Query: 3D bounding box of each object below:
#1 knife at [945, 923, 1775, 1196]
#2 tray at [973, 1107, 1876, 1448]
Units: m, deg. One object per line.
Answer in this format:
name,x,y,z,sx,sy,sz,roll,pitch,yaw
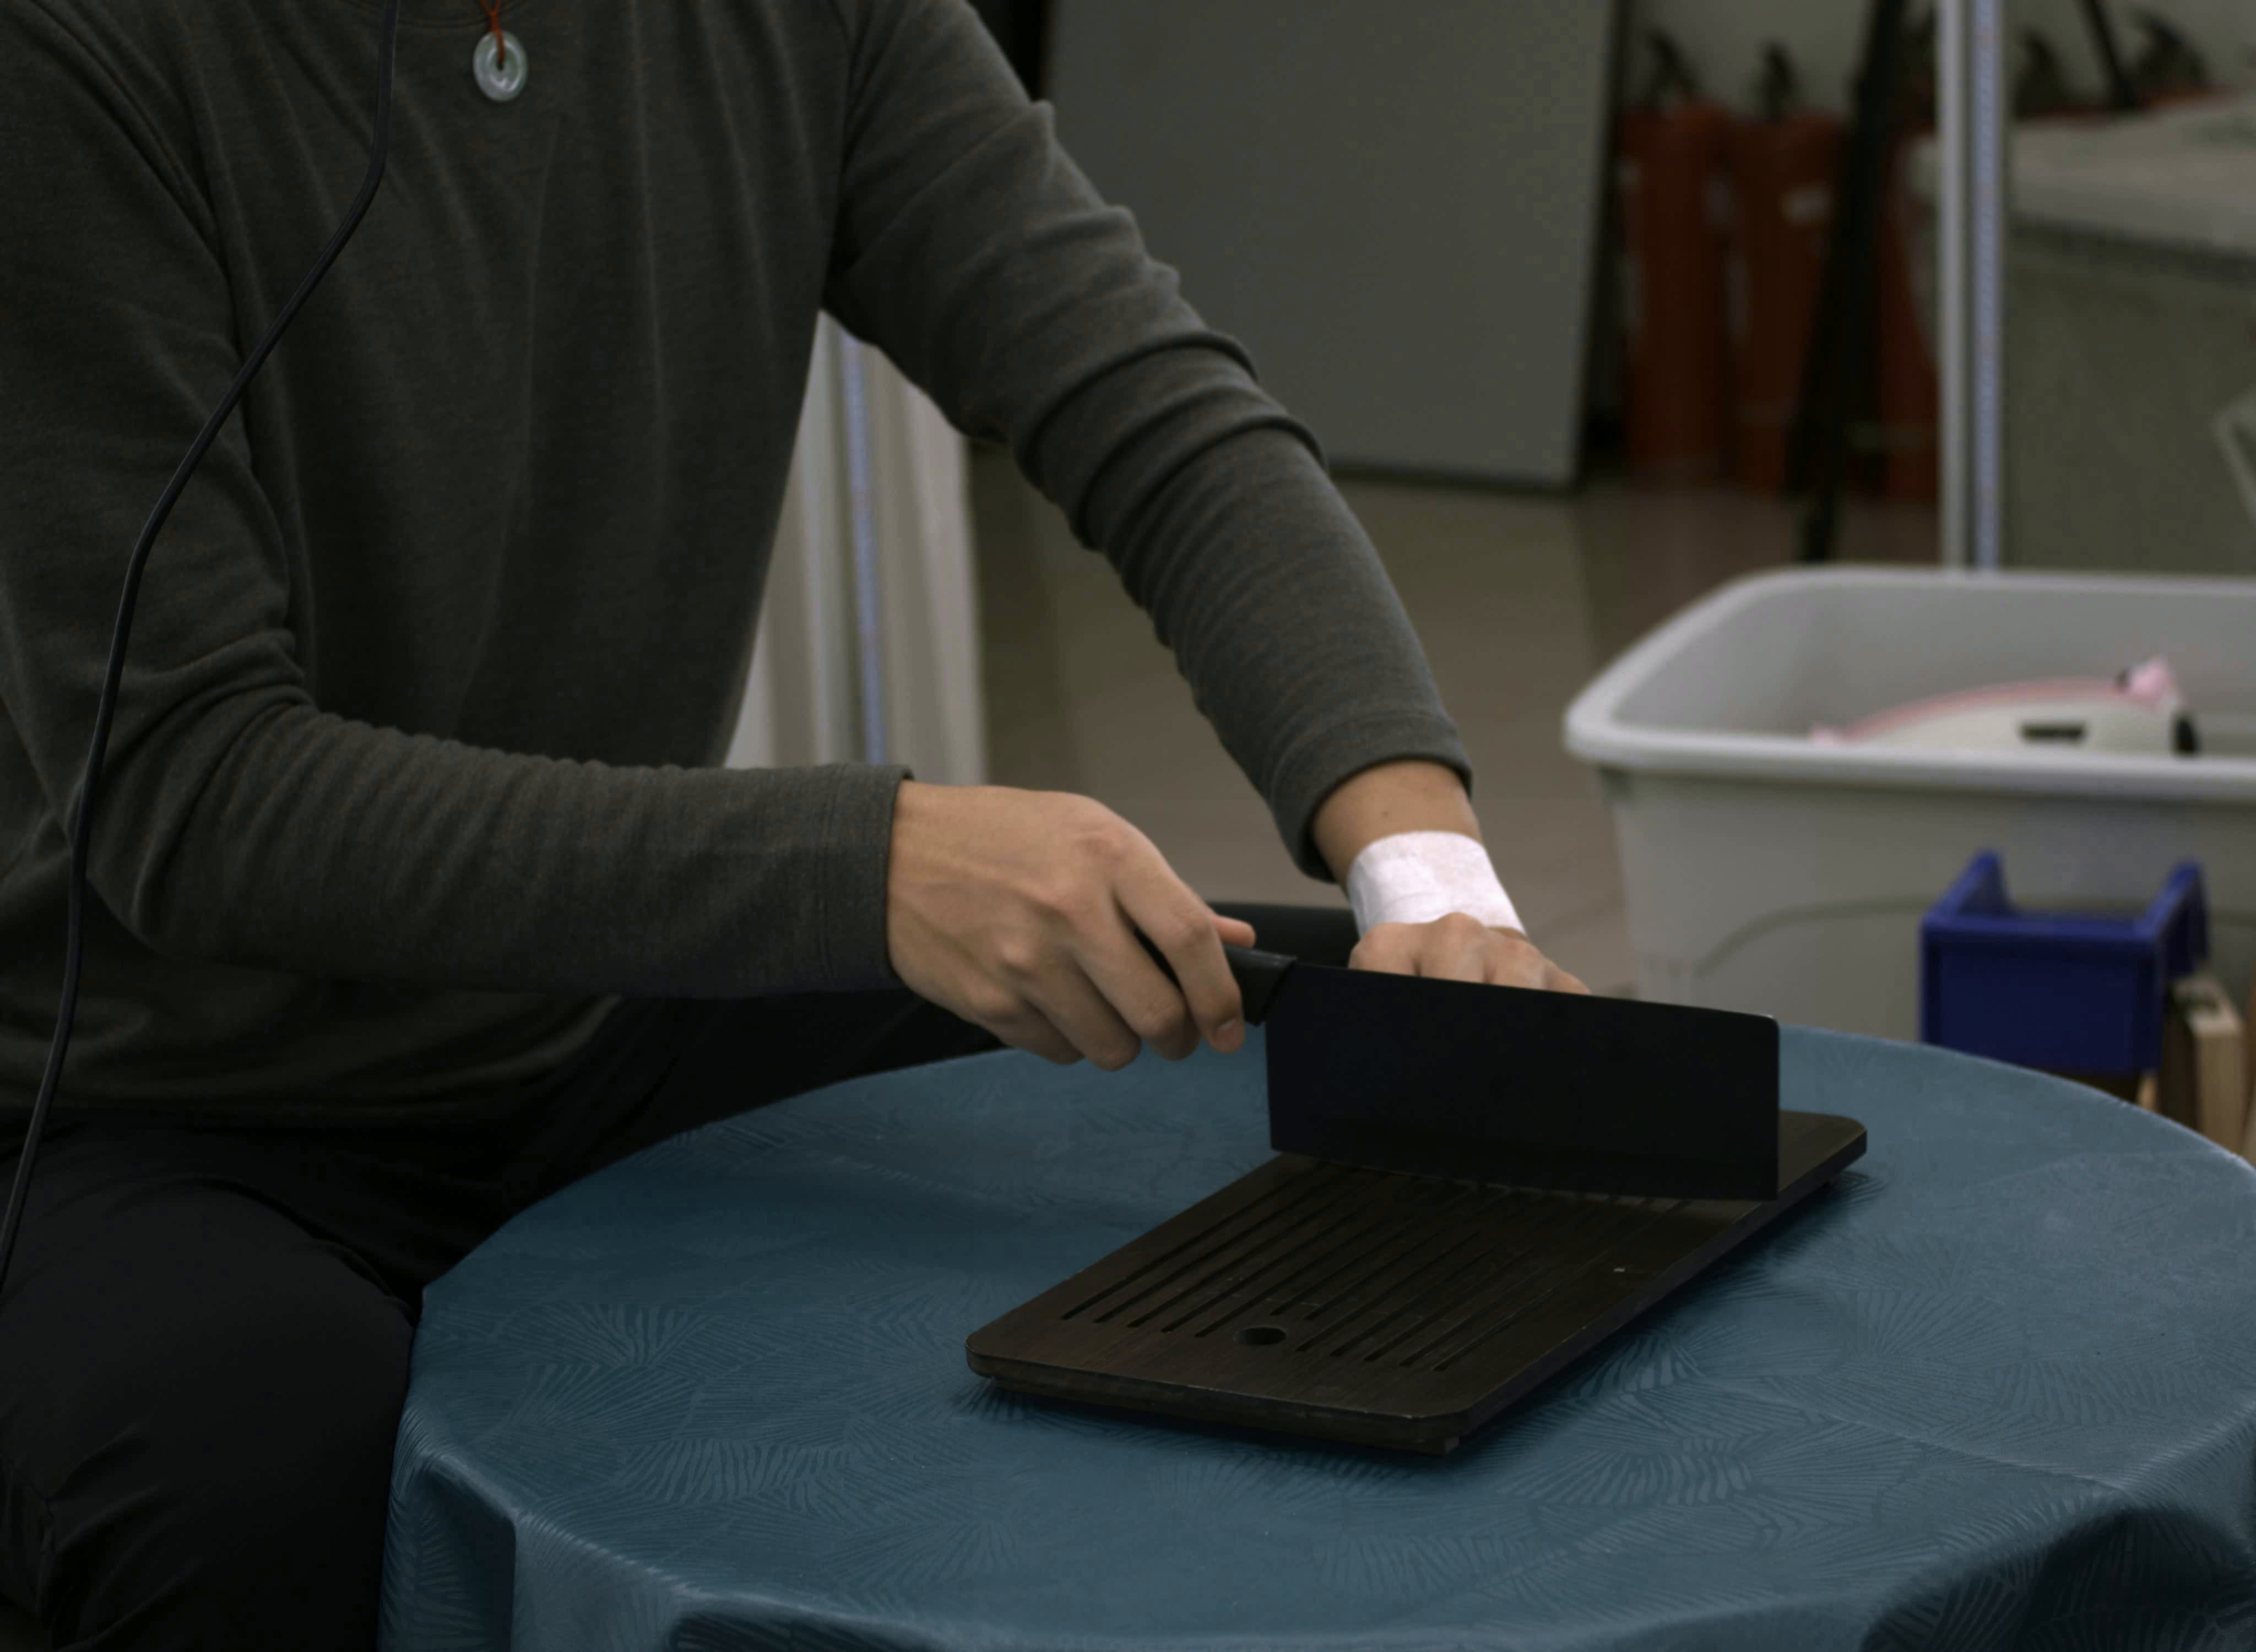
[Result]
knife,0.070,0.072,1.719,0.303,0.082,0.020,10,15,31
tray,0.098,0.132,1.662,0.171,0.019,0.301,3,15,32
